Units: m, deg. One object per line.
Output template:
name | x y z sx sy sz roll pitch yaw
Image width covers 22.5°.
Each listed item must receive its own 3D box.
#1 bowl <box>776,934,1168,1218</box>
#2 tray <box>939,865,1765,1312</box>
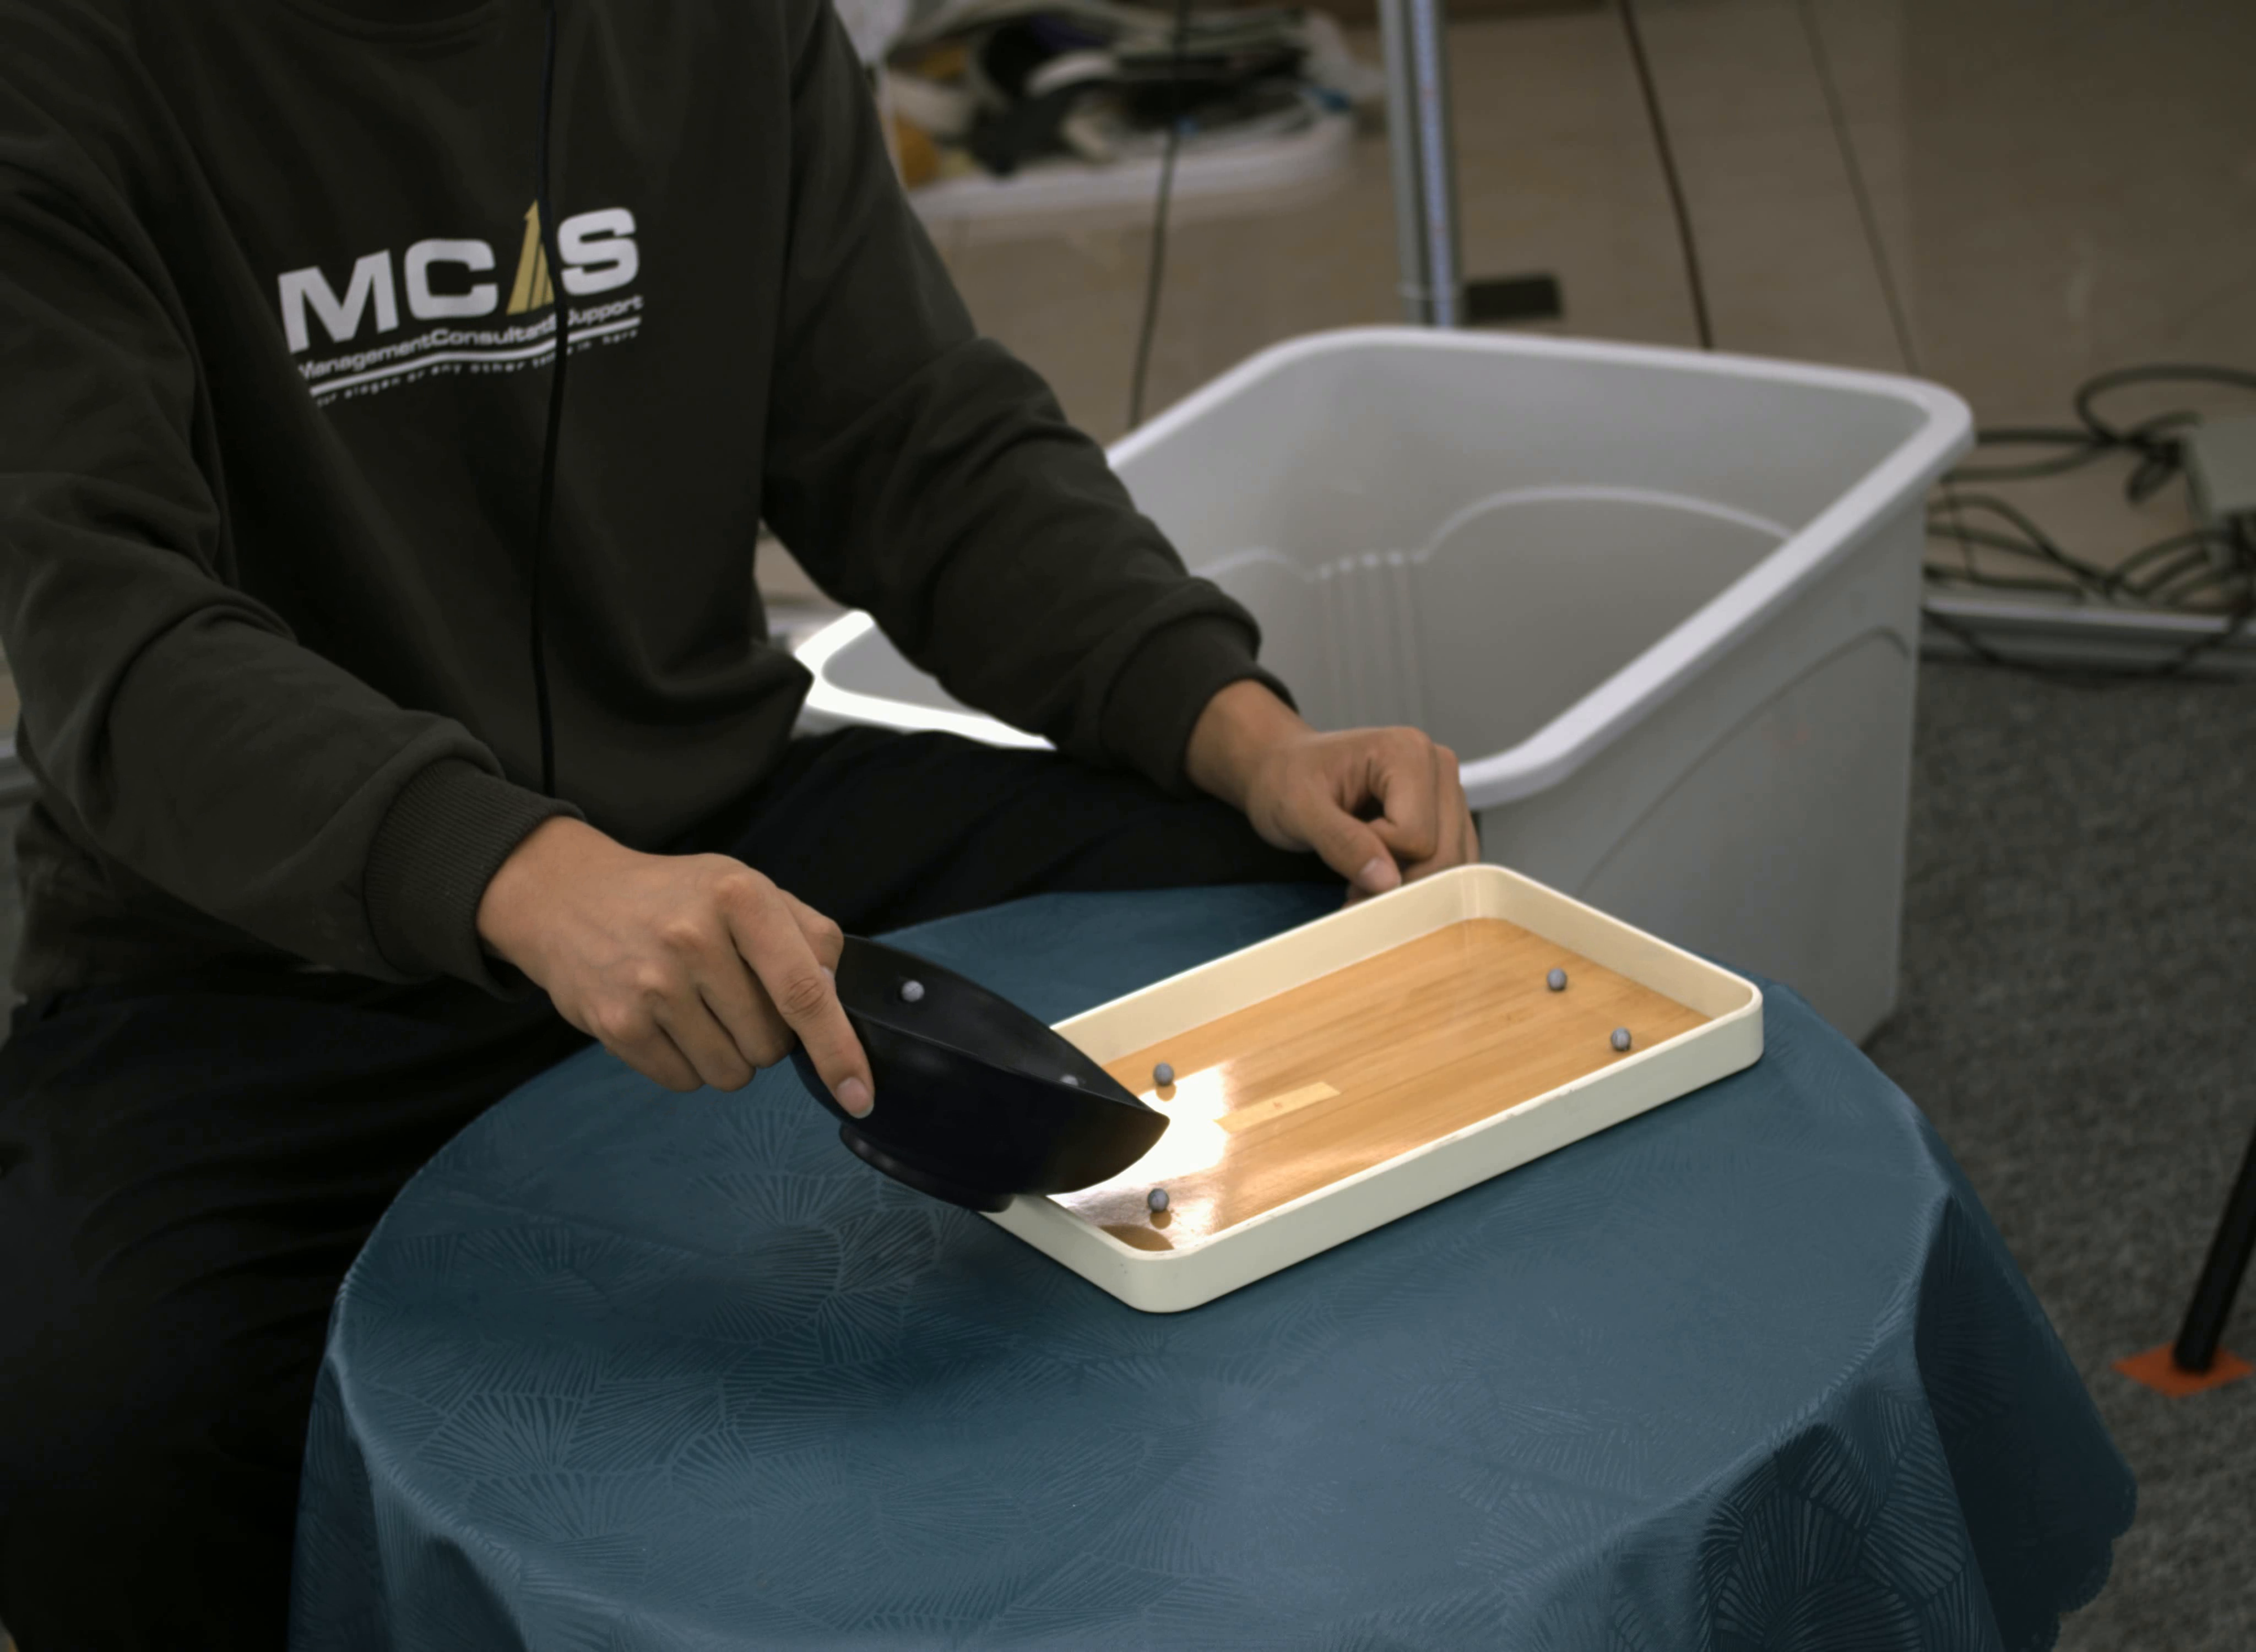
bowl | -0.066 0.099 2.087 0.171 0.067 0.135 20 10 -41
tray | 0.078 0.097 2.187 0.298 0.028 0.190 -21 28 -29
